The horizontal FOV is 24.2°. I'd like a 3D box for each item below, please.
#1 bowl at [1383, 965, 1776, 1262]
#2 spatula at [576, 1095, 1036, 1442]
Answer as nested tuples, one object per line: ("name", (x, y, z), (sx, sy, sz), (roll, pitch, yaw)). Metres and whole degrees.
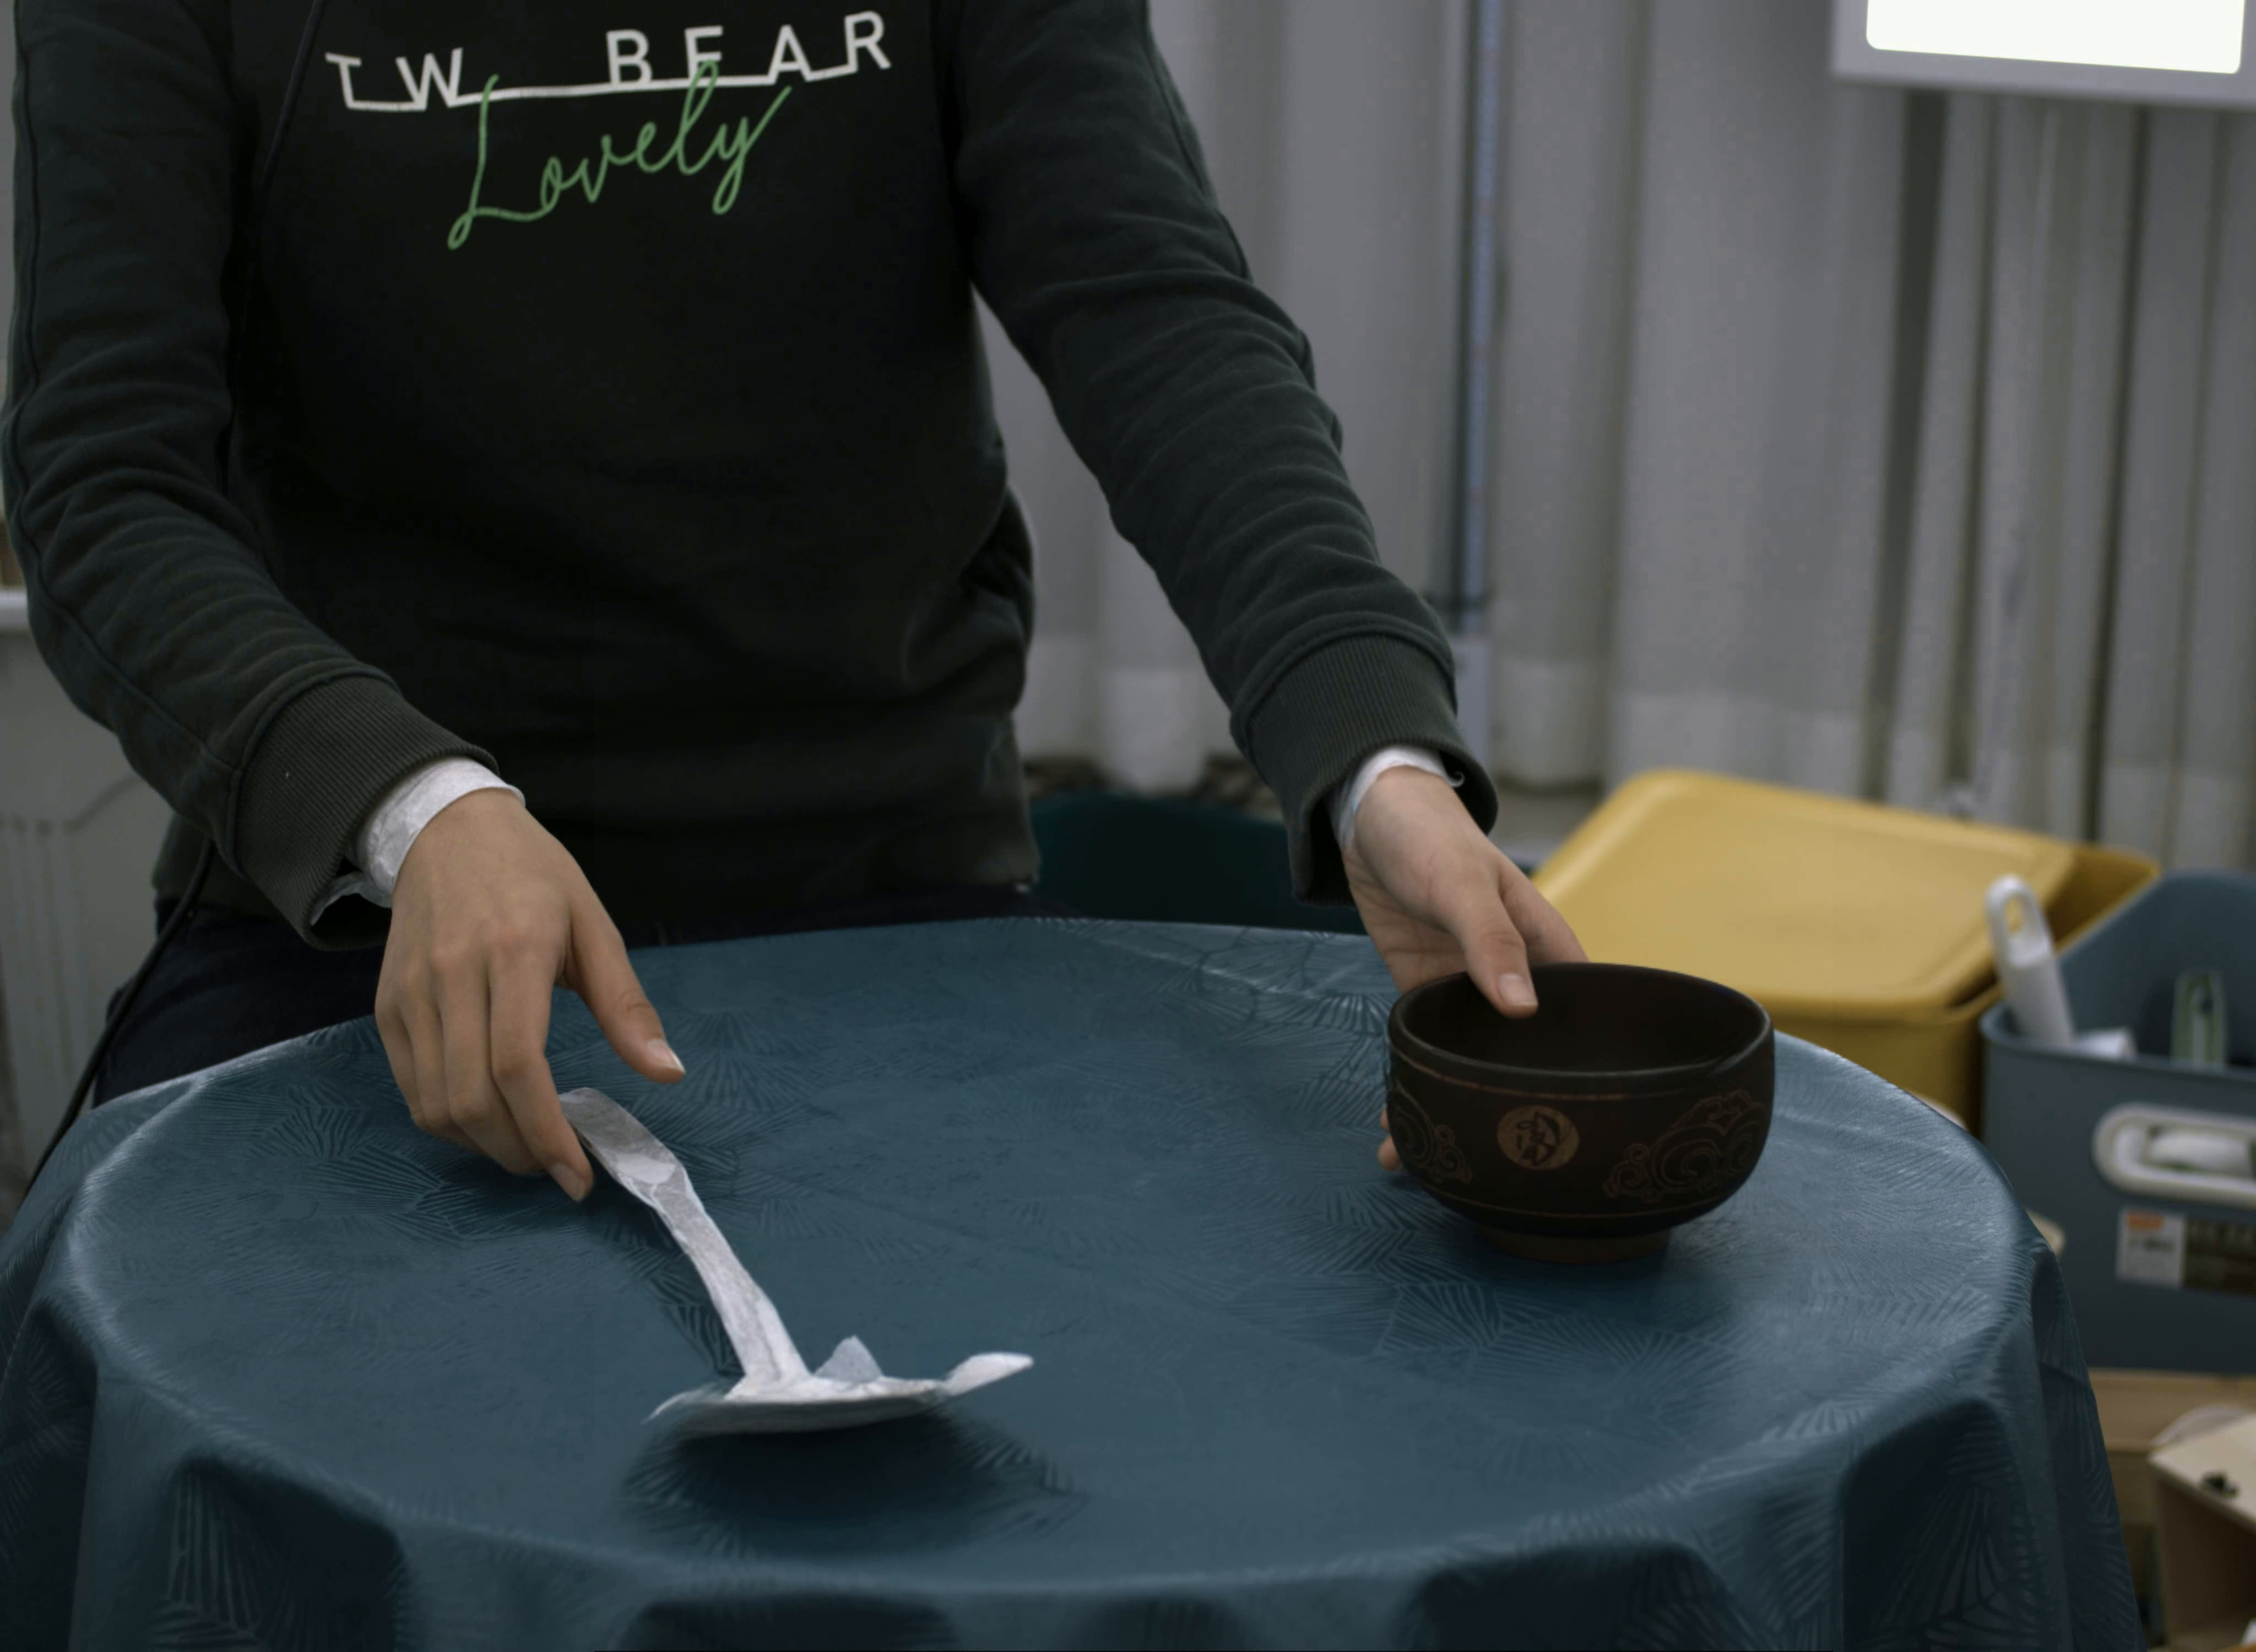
("bowl", (0.135, 0.090, 1.583), (0.117, 0.070, 0.117), (1, 14, 0))
("spatula", (-0.119, 0.119, 1.528), (0.099, 0.045, 0.361), (-7, 18, -17))
